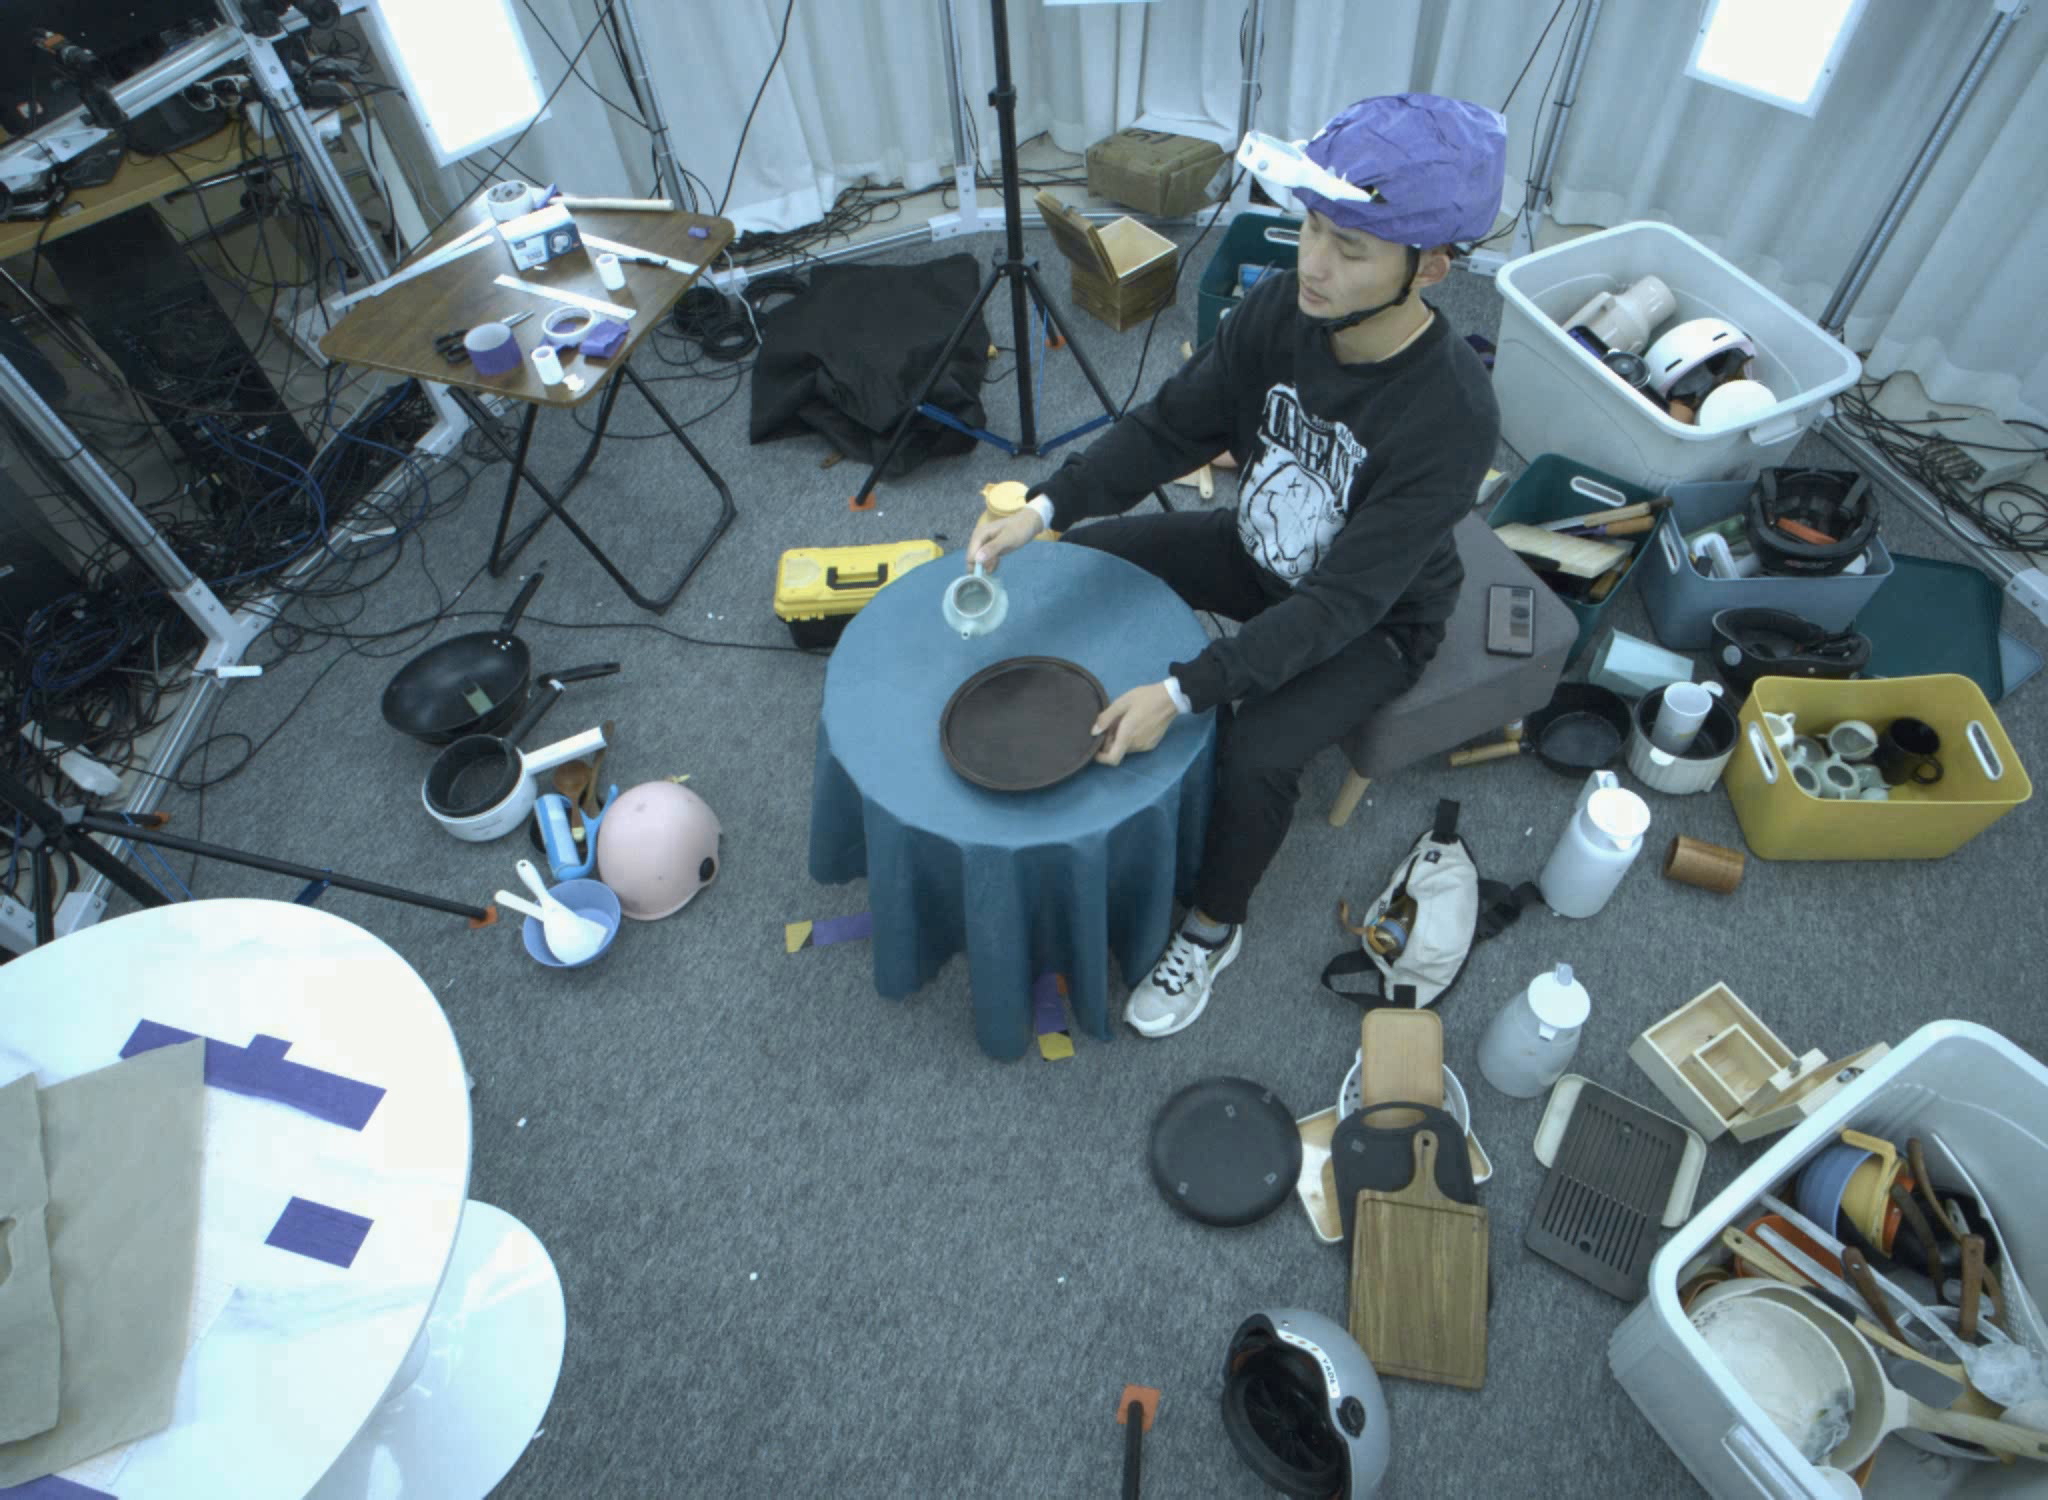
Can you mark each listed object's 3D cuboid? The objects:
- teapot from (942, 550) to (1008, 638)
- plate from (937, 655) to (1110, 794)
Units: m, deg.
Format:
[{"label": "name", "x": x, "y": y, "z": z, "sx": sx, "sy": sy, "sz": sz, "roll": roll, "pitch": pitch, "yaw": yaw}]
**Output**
[{"label": "teapot", "x": -0.073, "y": -0.219, "z": 1.768, "sx": 0.096, "sy": 0.062, "sz": 0.136, "roll": 6, "pitch": 79, "yaw": 6}, {"label": "plate", "x": -0.001, "y": -0.039, "z": 1.780, "sx": 0.253, "sy": 0.029, "sz": 0.252, "roll": -5, "pitch": 52, "yaw": 8}]
